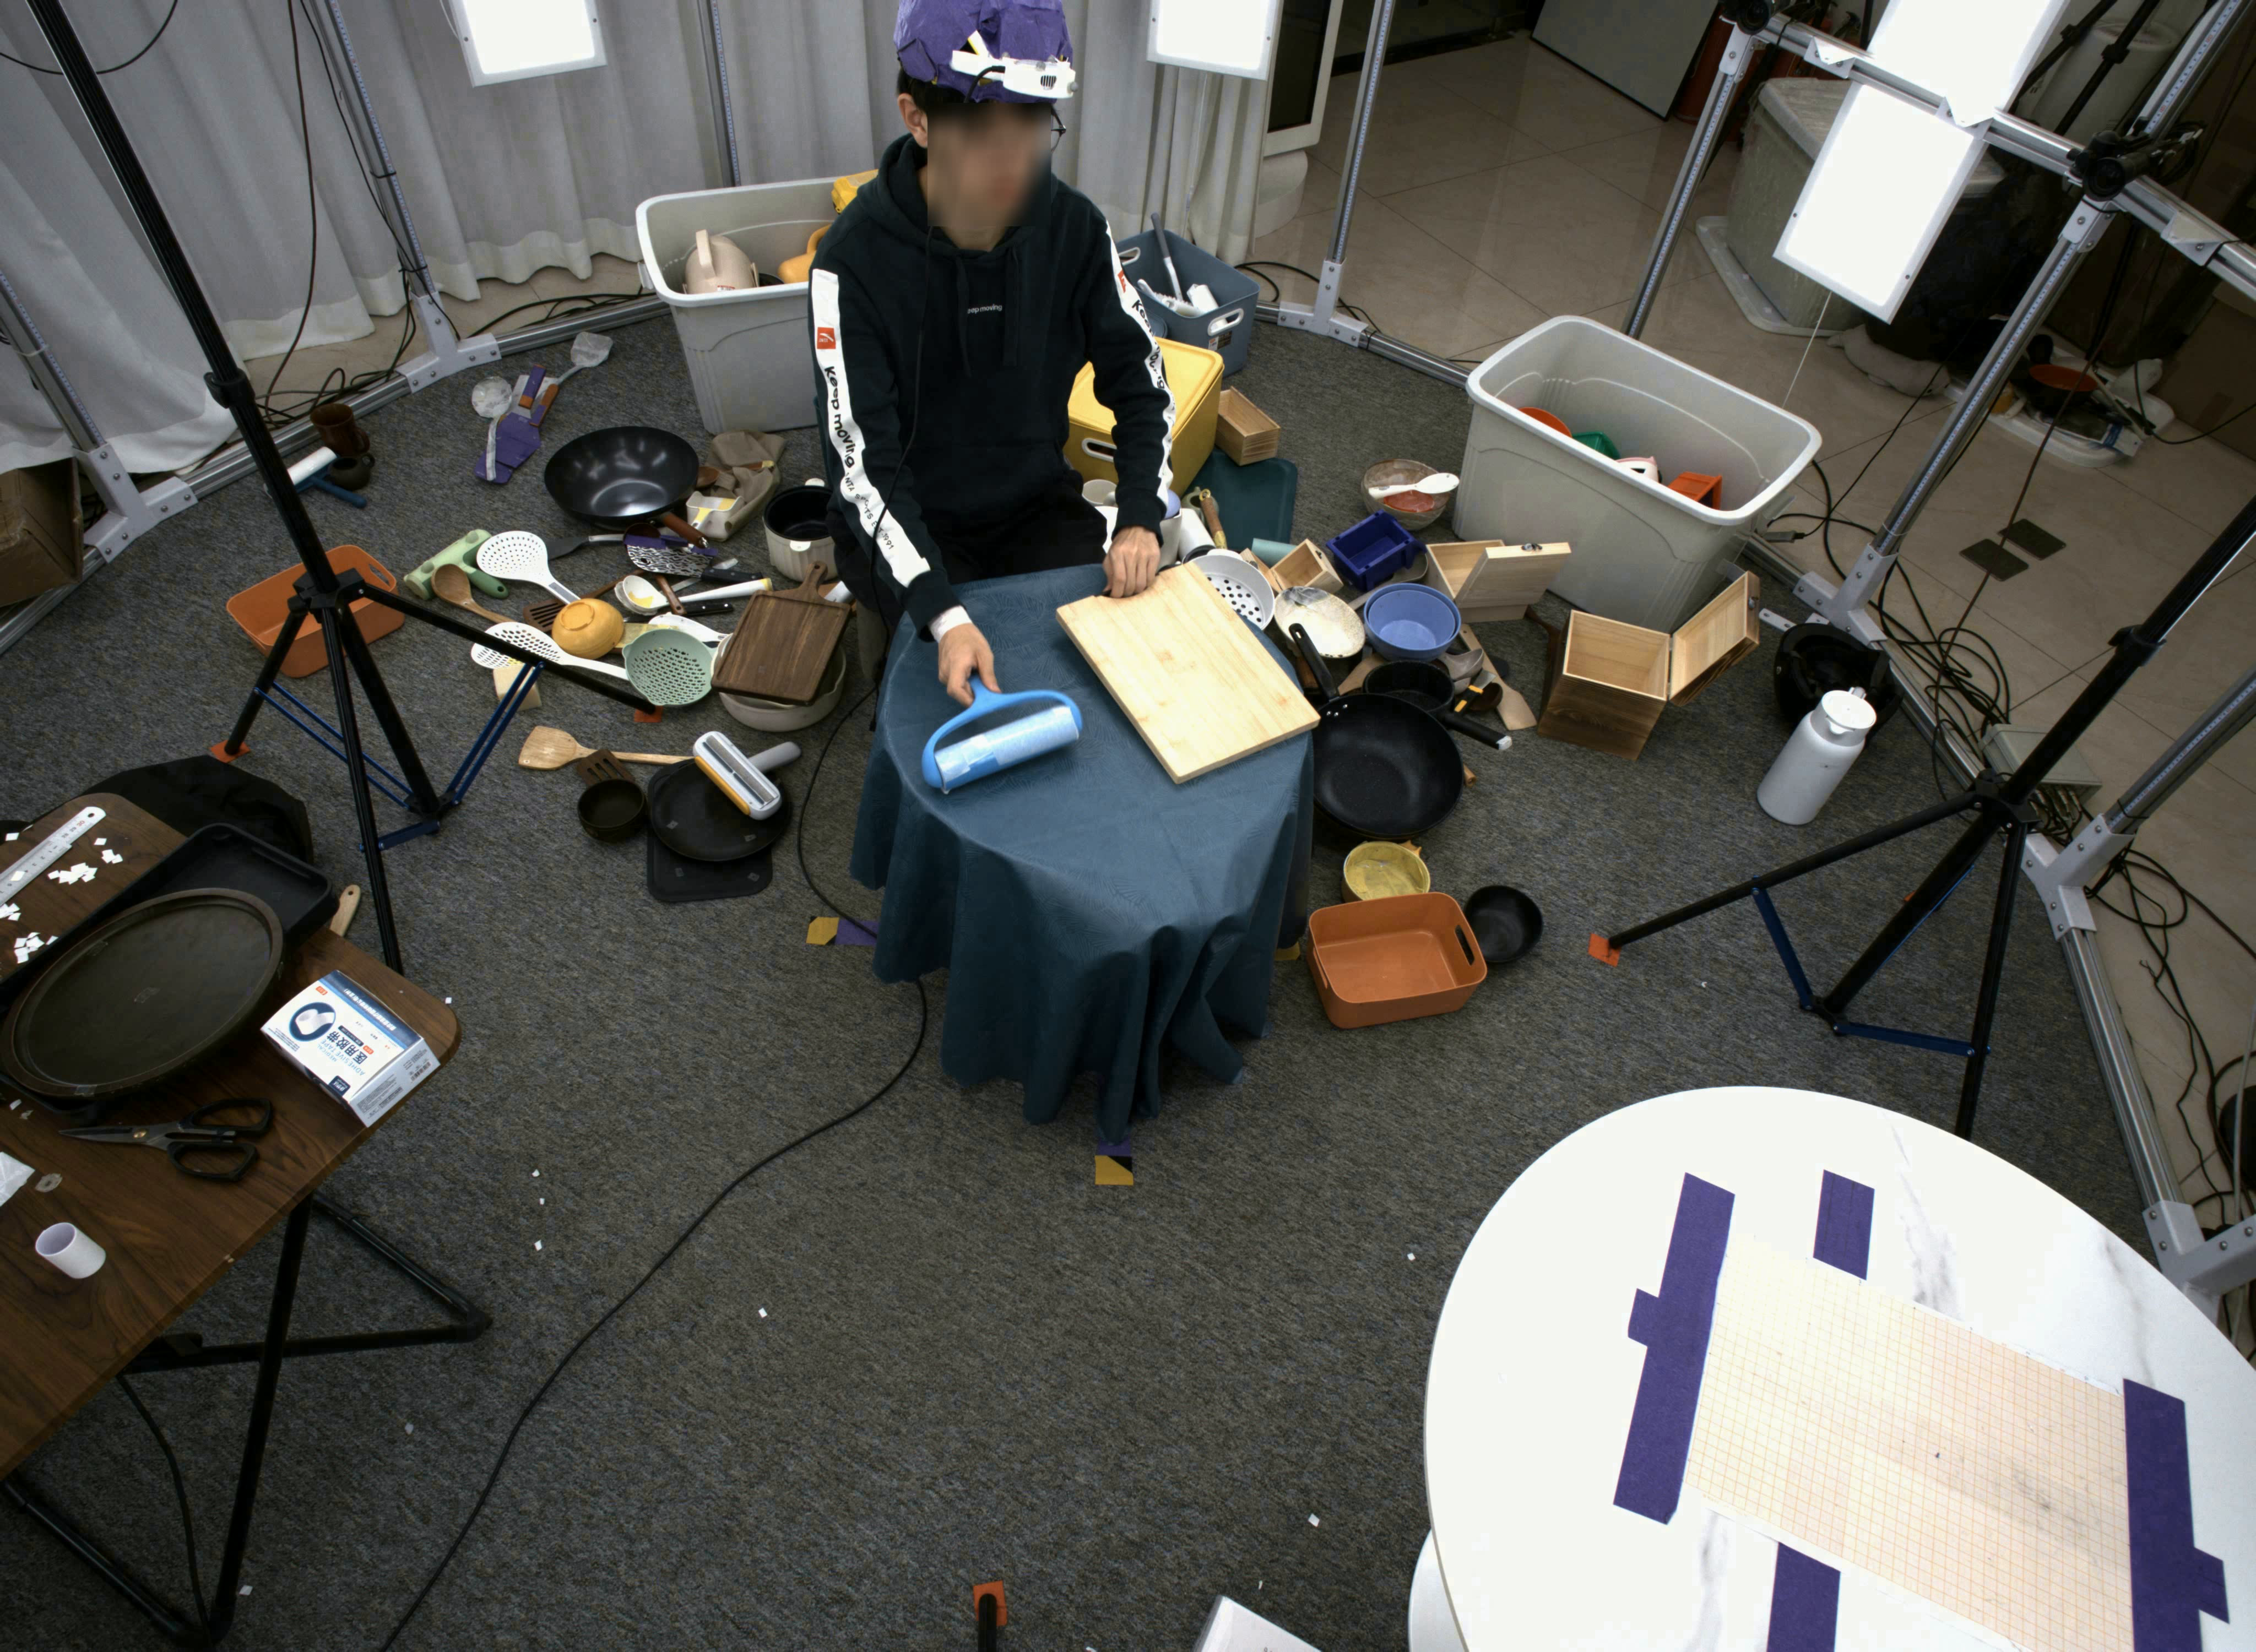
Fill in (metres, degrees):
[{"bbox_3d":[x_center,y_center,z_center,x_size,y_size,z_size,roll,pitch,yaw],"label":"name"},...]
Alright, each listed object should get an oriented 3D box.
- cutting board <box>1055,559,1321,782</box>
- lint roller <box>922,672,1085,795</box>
[{"bbox_3d":[0.082,-0.231,1.842,0.251,0.023,0.355,-23,60,-22],"label":"cutting board"},{"bbox_3d":[-0.192,-0.149,1.727,0.229,0.066,0.183,-25,66,-17],"label":"lint roller"}]
